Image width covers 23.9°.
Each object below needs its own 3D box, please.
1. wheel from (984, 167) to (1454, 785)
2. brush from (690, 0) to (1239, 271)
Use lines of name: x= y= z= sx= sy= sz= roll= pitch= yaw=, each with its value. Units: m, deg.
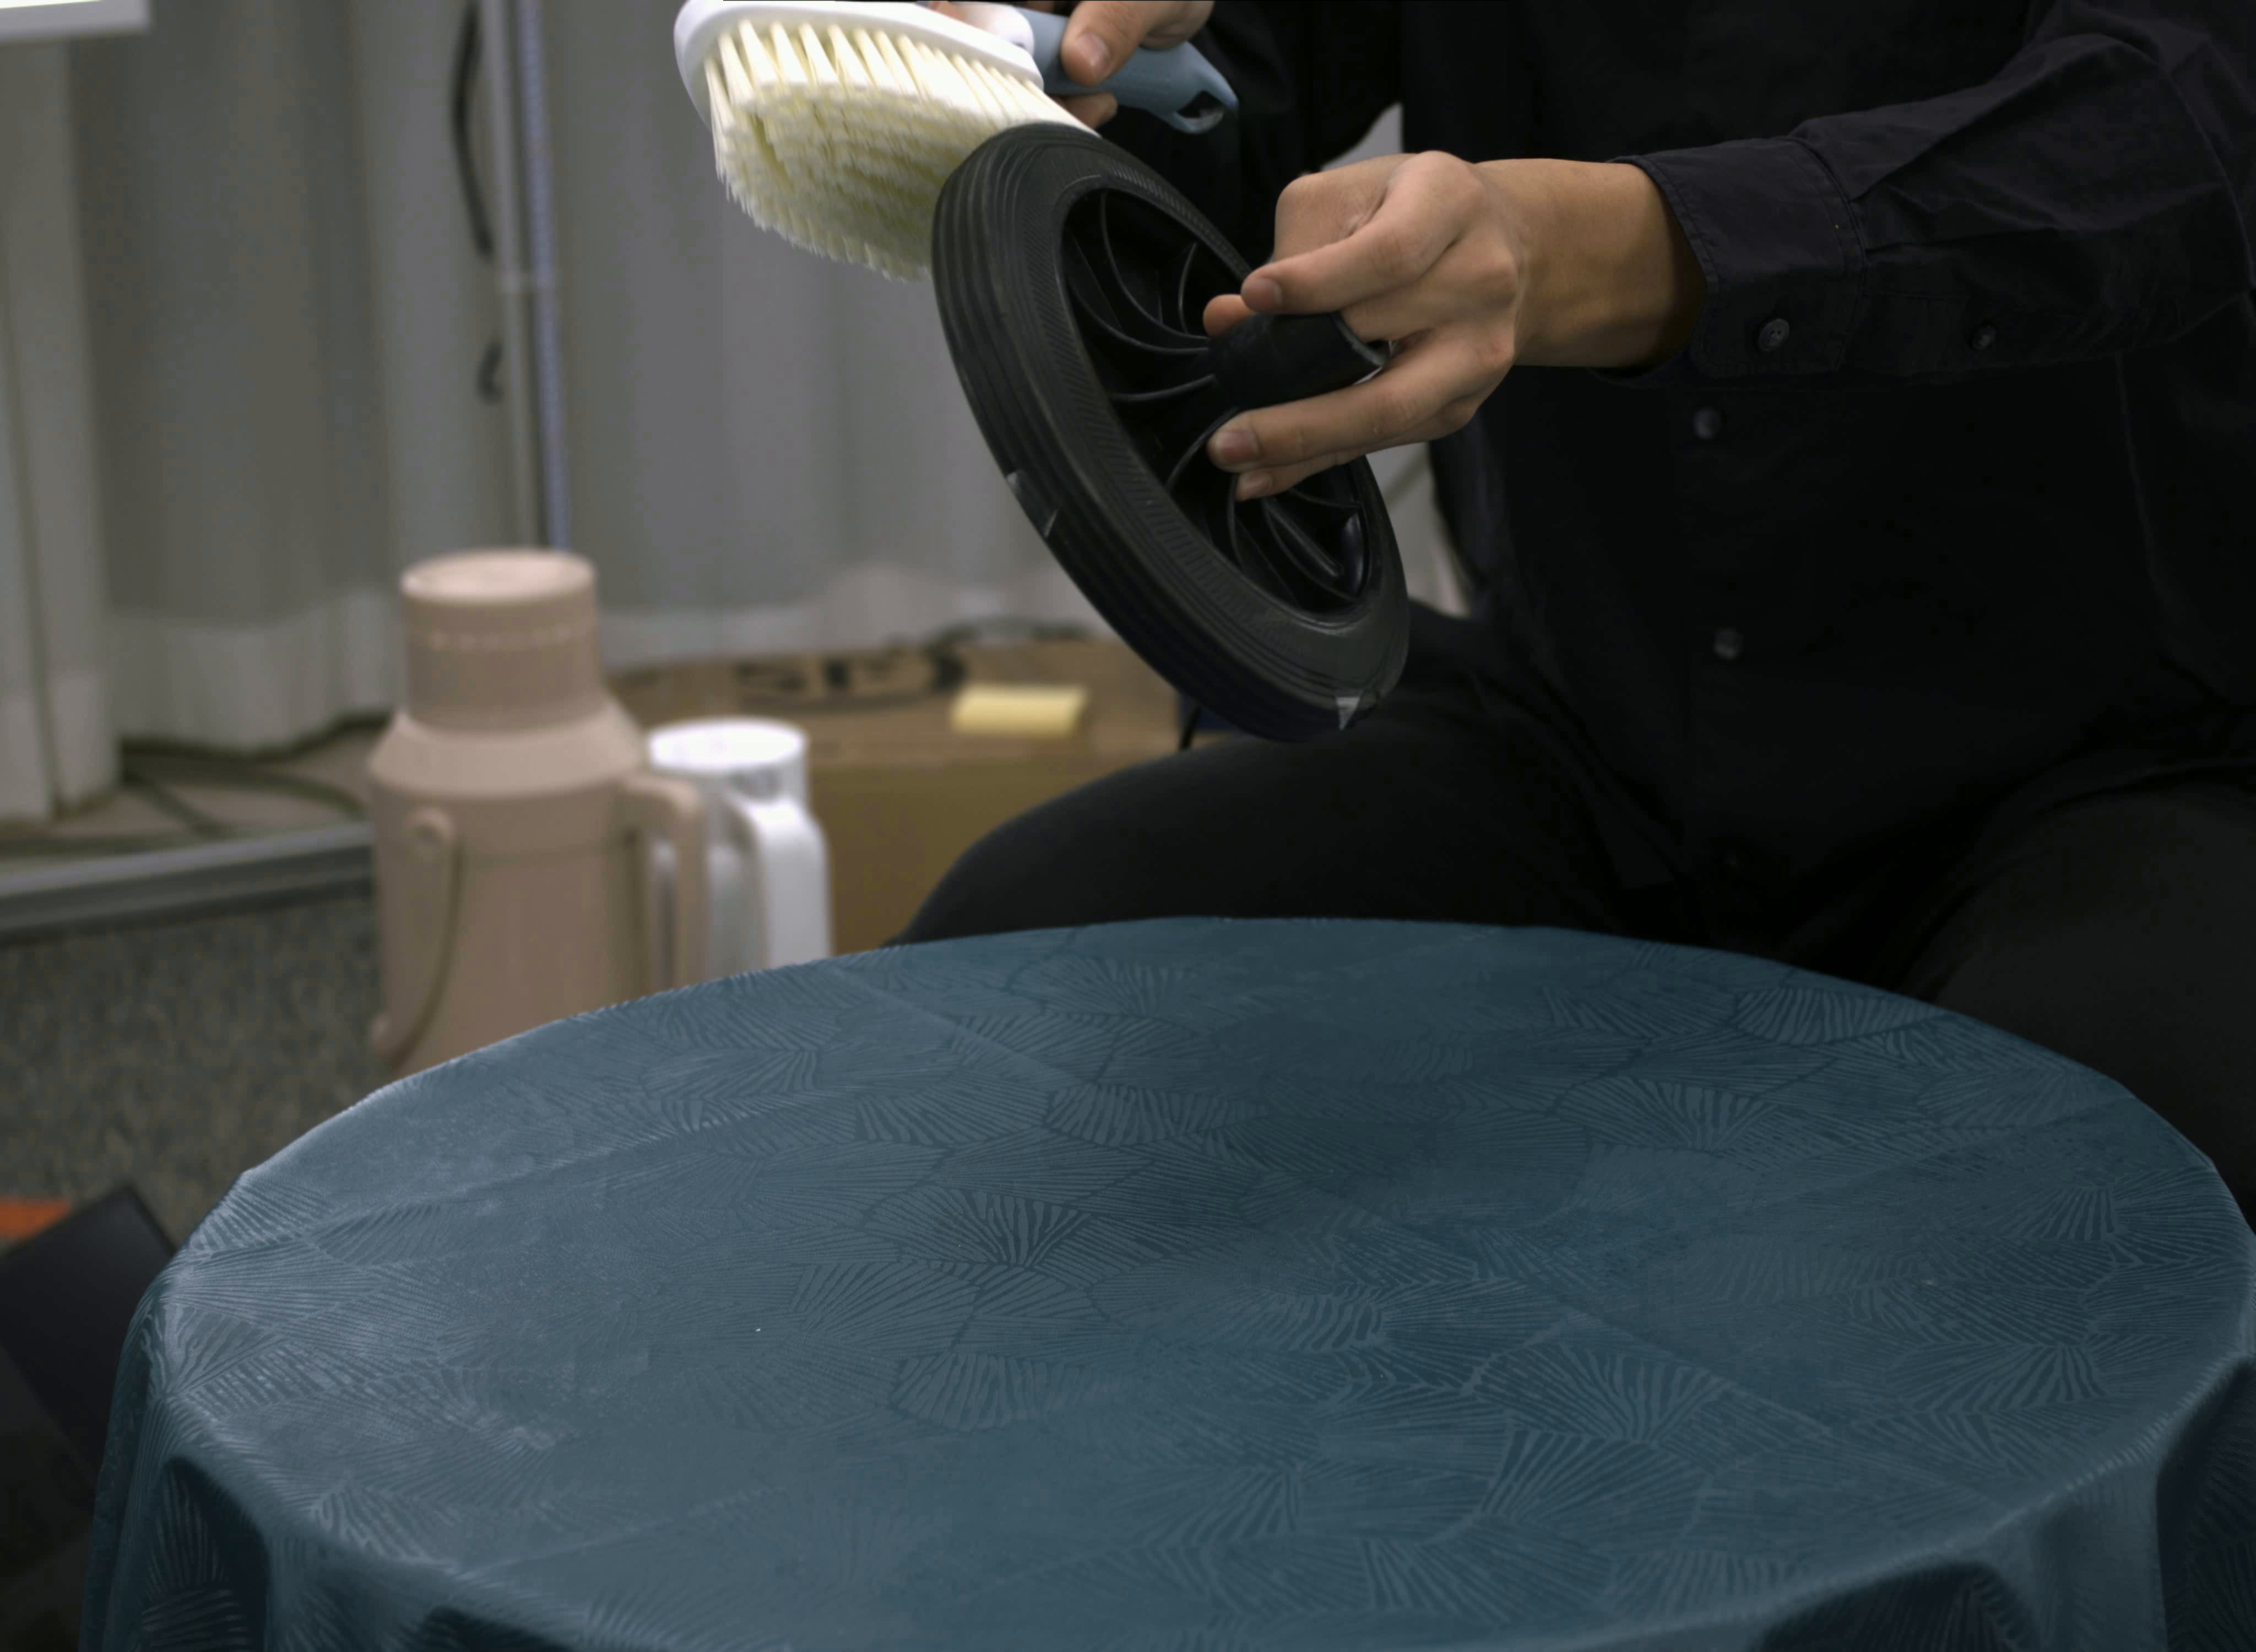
wheel: x=0.043 y=-0.107 z=1.454 sx=0.080 sy=0.184 sz=0.191 roll=-34 pitch=30 yaw=24
brush: x=-0.022 y=-0.203 z=1.568 sx=0.084 sy=0.085 sz=0.319 roll=2 pitch=4 yaw=26
